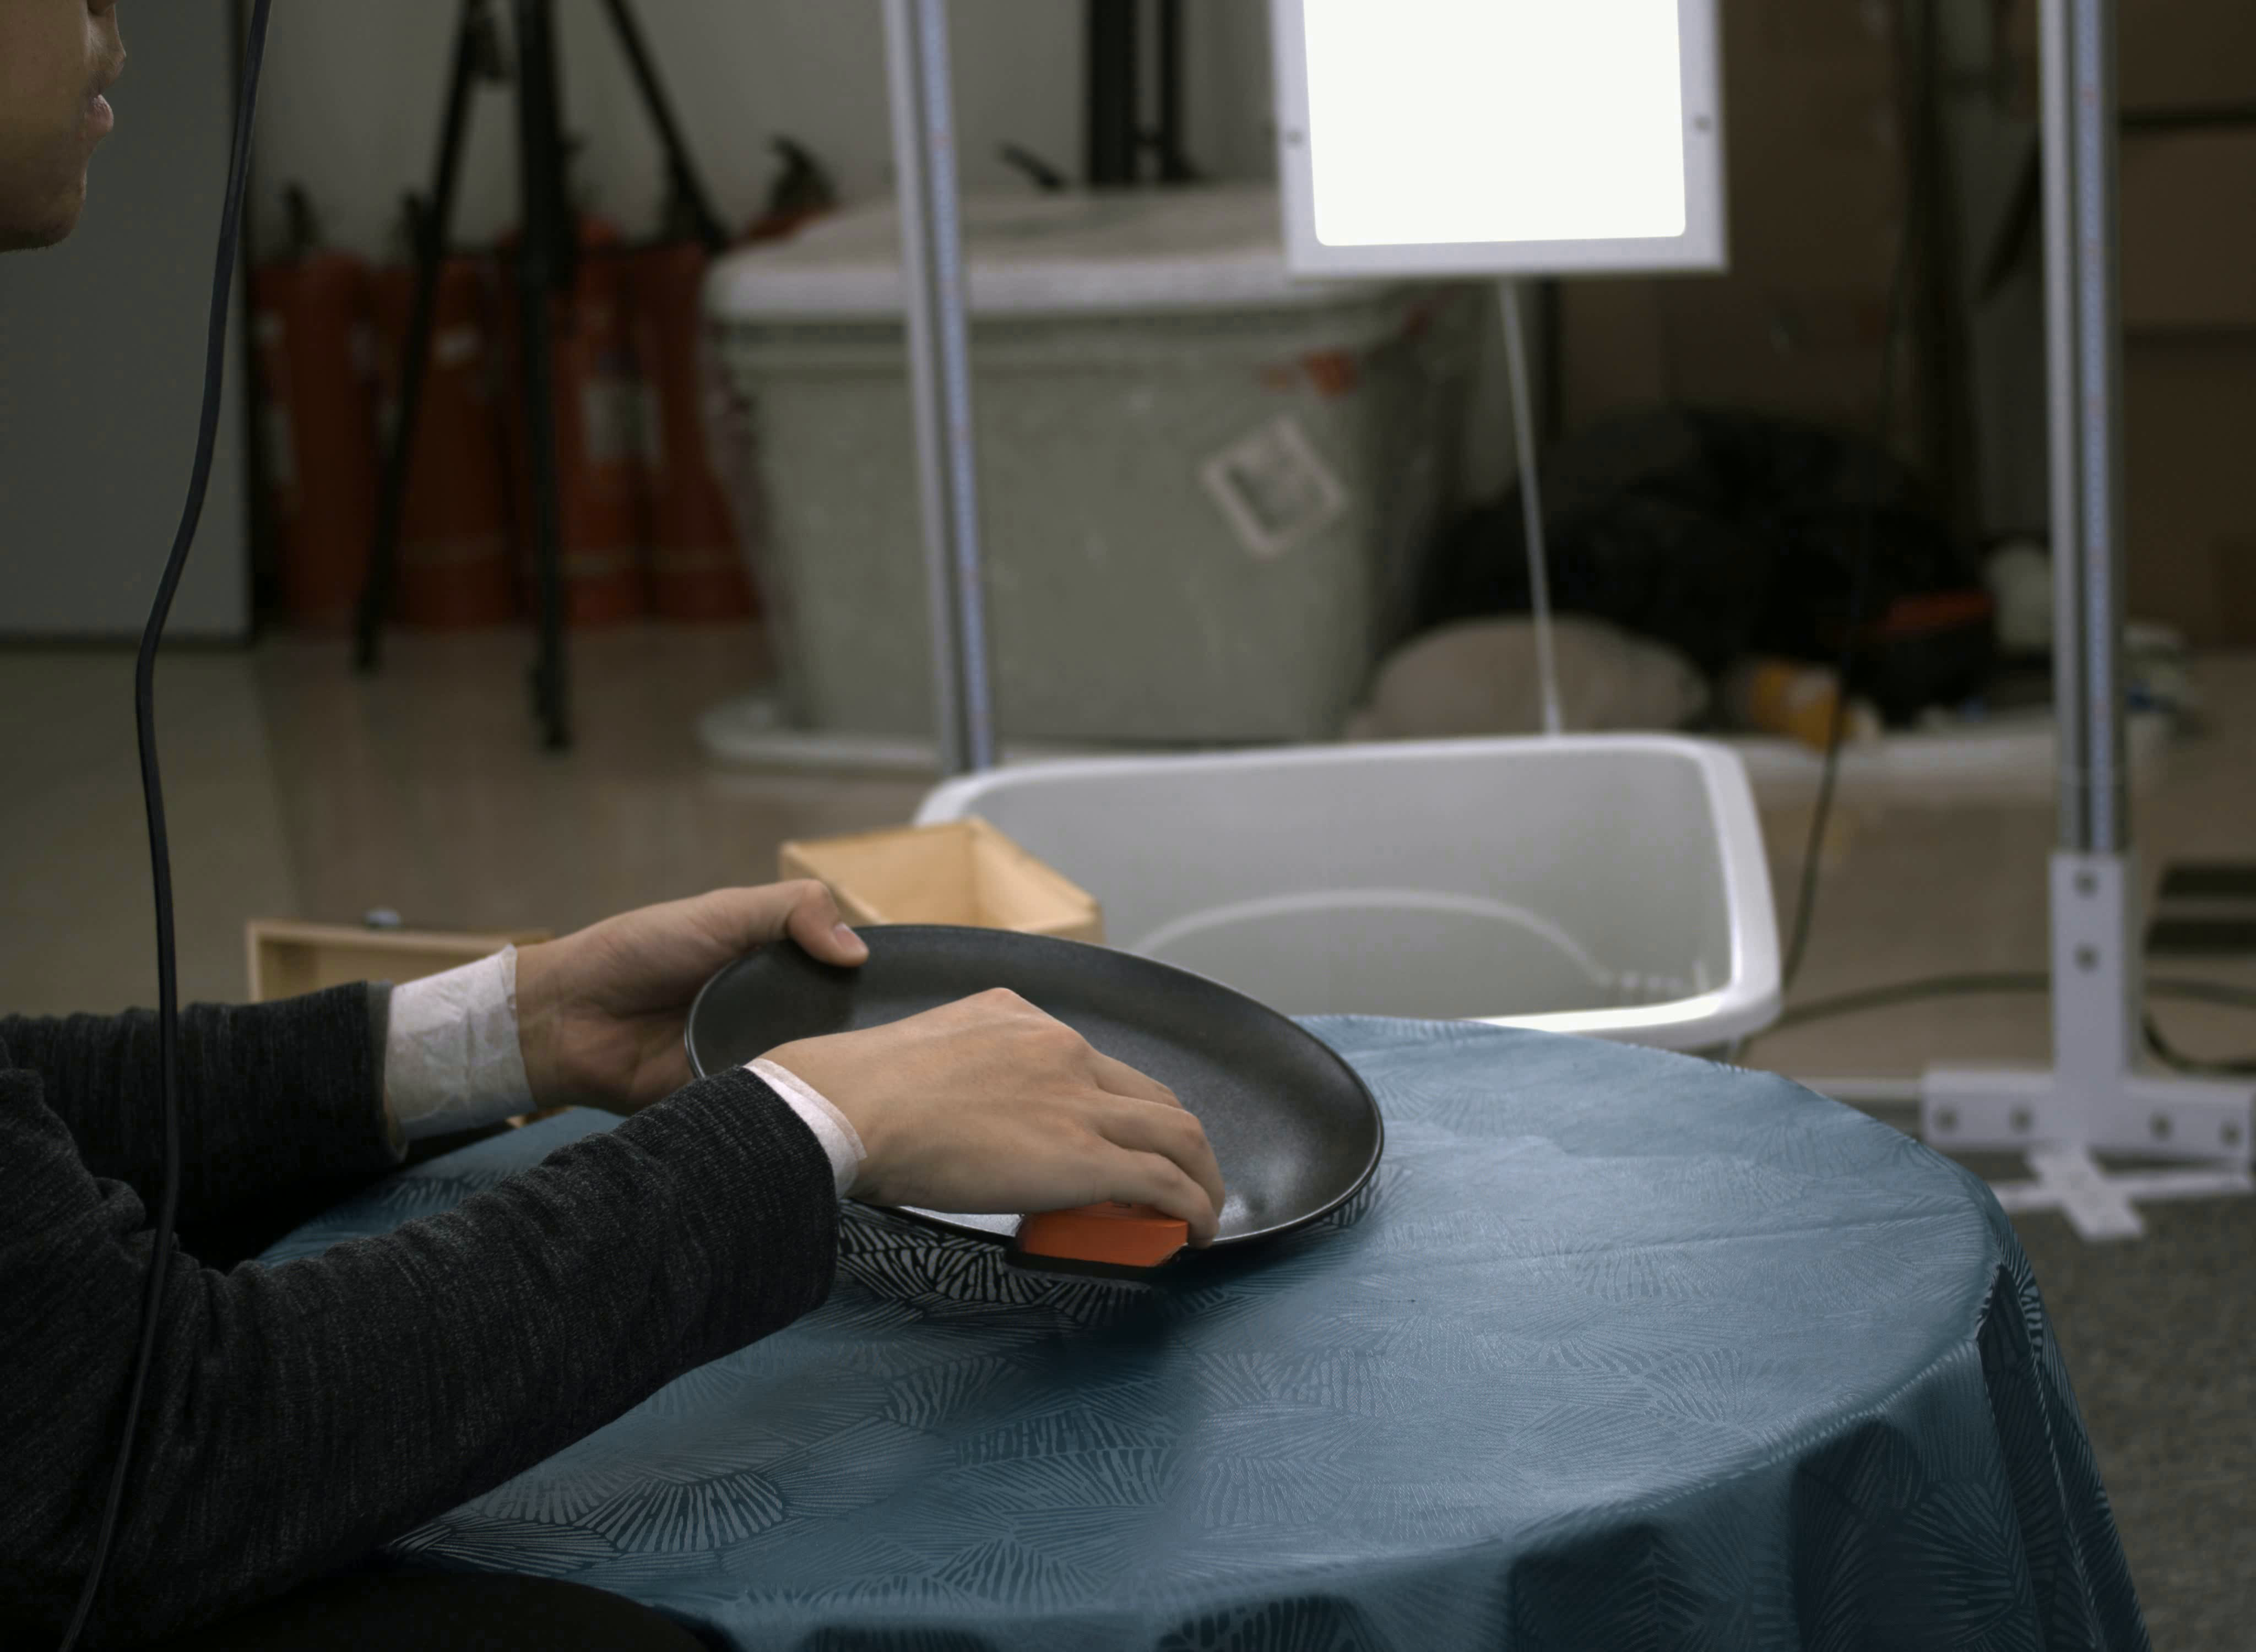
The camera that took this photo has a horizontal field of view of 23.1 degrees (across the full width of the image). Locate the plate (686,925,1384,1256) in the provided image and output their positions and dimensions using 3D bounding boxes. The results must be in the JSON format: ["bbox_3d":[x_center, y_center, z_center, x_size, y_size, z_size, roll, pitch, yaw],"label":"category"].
[{"bbox_3d":[-0.032,0.095,1.888,0.243,0.023,0.244,7,23,-4],"label":"plate"}]

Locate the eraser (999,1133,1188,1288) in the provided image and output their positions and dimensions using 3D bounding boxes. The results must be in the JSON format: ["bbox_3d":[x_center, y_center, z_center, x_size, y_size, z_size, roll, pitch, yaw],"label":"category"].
[{"bbox_3d":[-0.011,0.123,1.772,0.059,0.023,0.108,6,9,0],"label":"eraser"}]
